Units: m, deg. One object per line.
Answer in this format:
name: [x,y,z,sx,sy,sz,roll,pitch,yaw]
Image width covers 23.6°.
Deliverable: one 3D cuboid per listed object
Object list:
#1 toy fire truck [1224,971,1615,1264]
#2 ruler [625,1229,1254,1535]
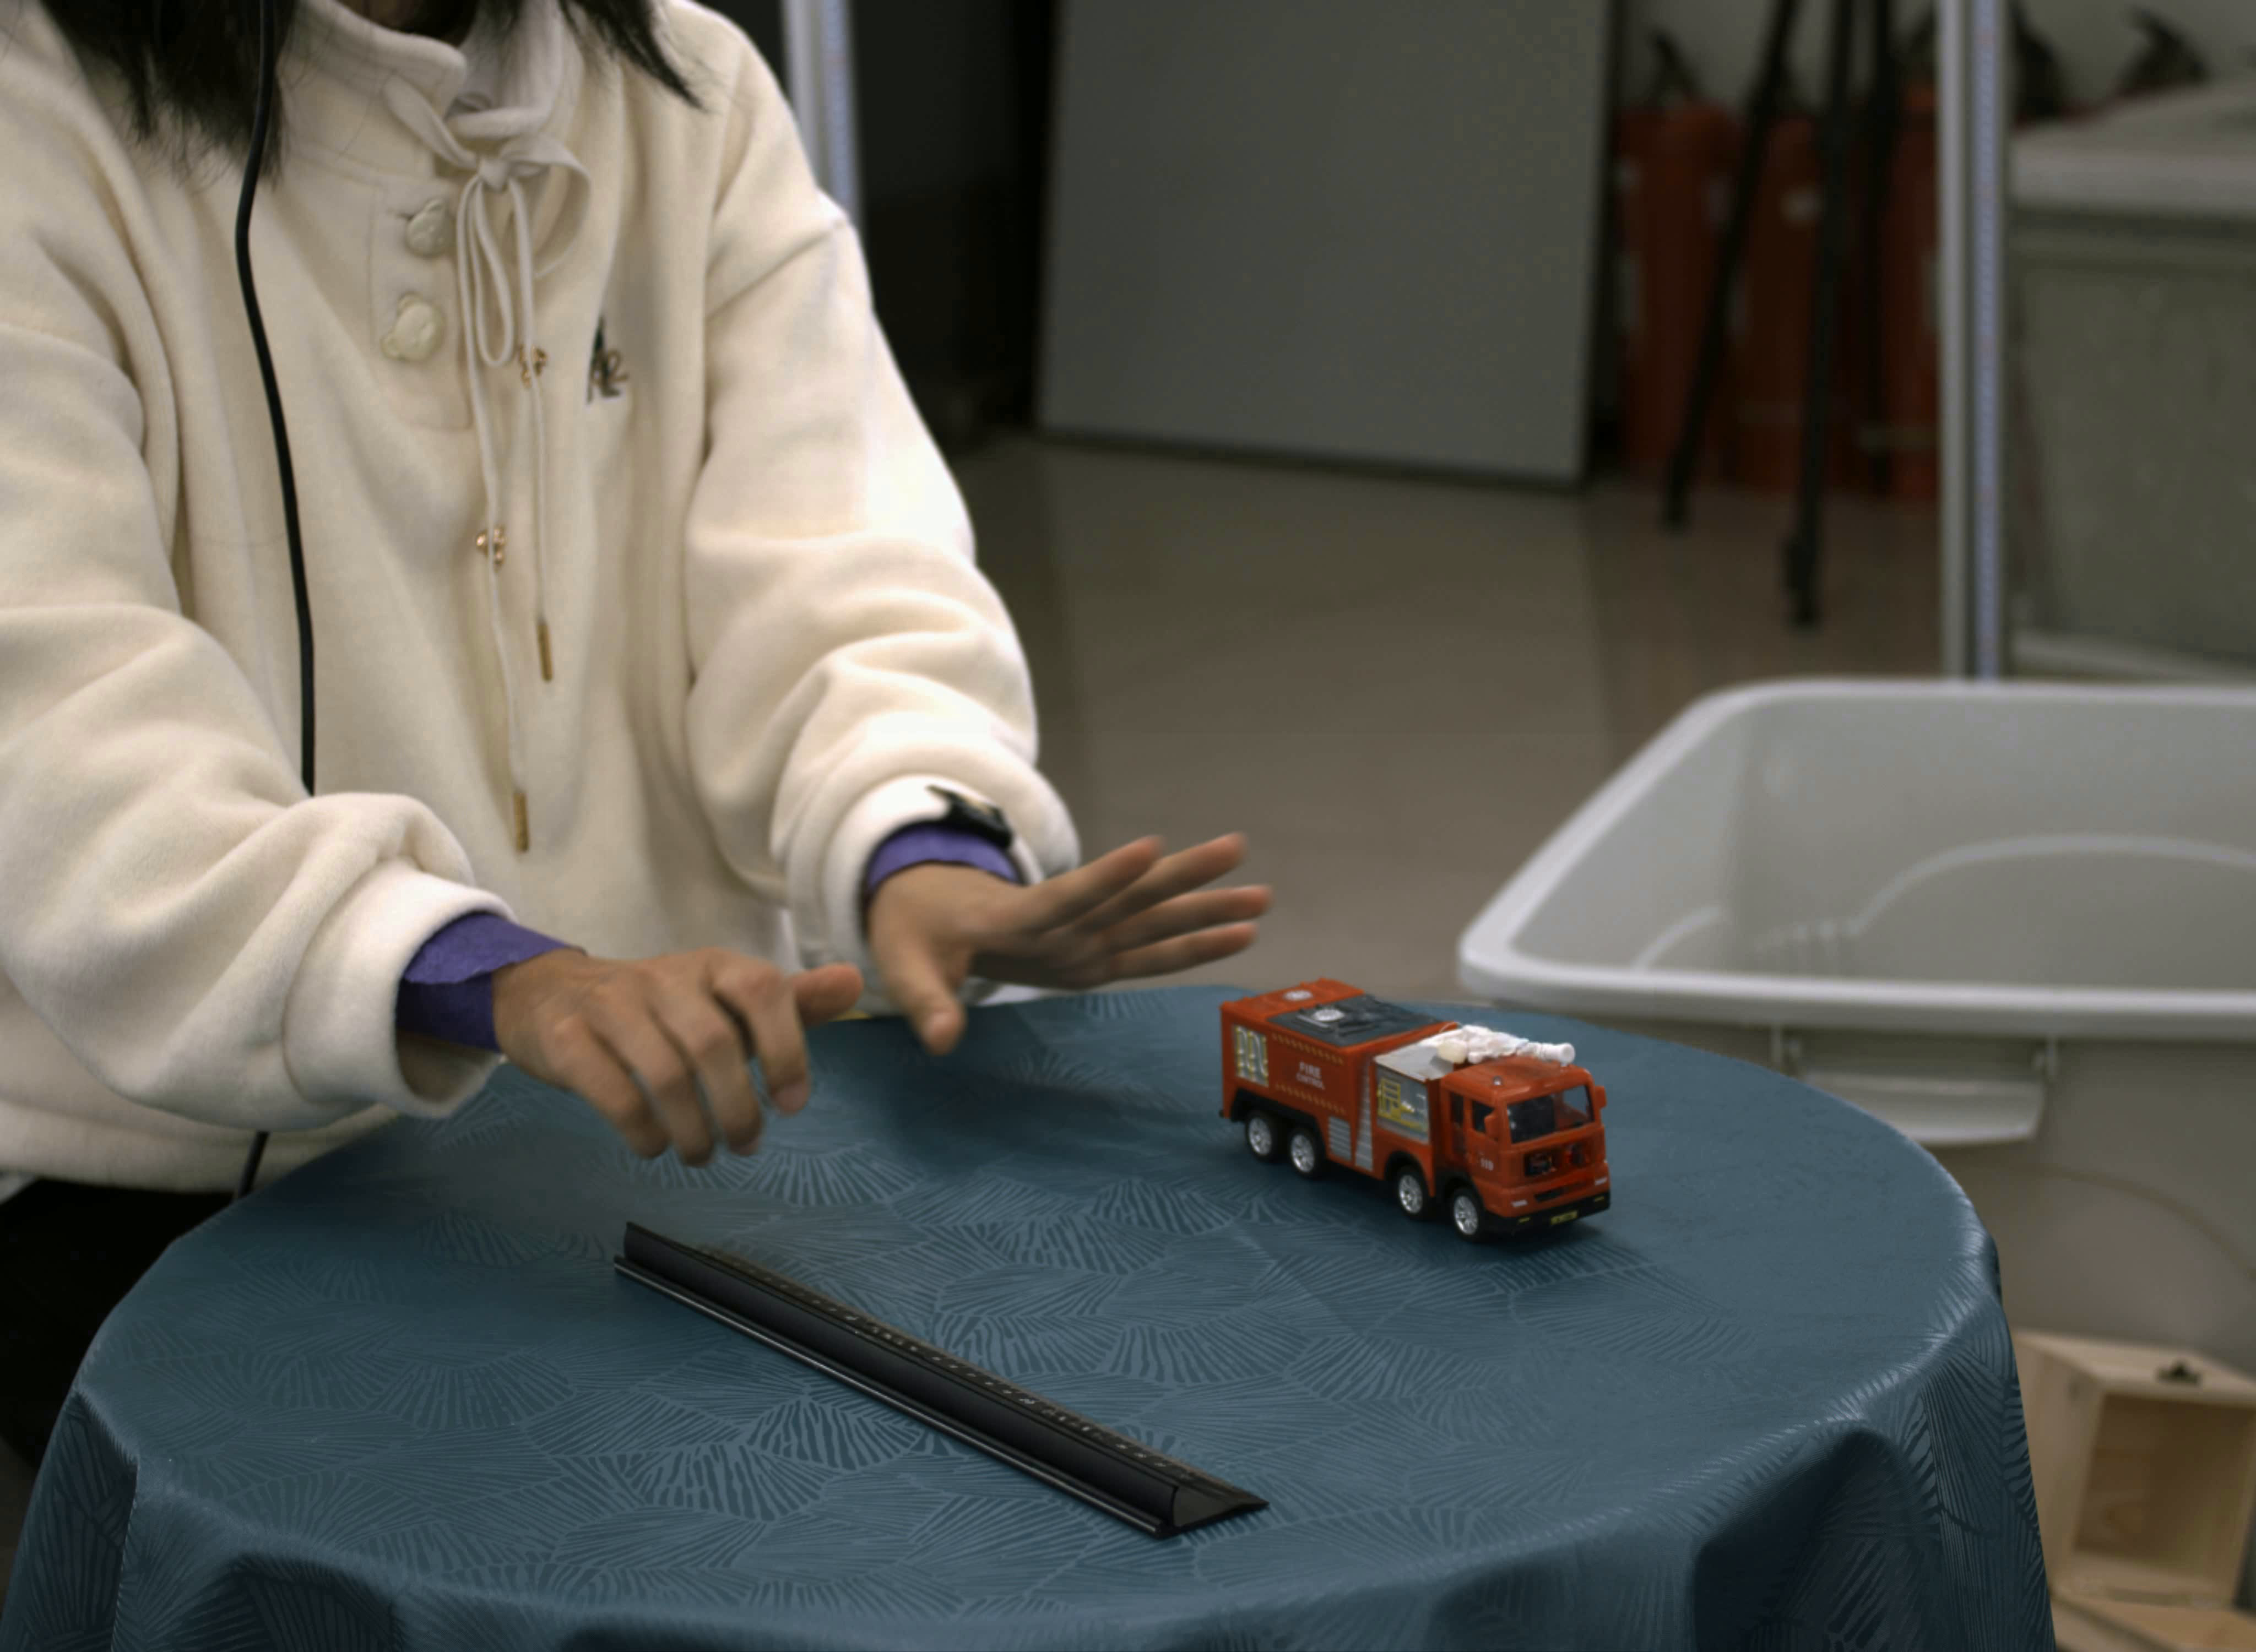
toy fire truck: [0.093,0.090,1.744,0.053,0.071,0.170,-12,14,-30]
ruler: [-0.062,0.158,1.603,0.038,0.017,0.316,-8,13,-31]
